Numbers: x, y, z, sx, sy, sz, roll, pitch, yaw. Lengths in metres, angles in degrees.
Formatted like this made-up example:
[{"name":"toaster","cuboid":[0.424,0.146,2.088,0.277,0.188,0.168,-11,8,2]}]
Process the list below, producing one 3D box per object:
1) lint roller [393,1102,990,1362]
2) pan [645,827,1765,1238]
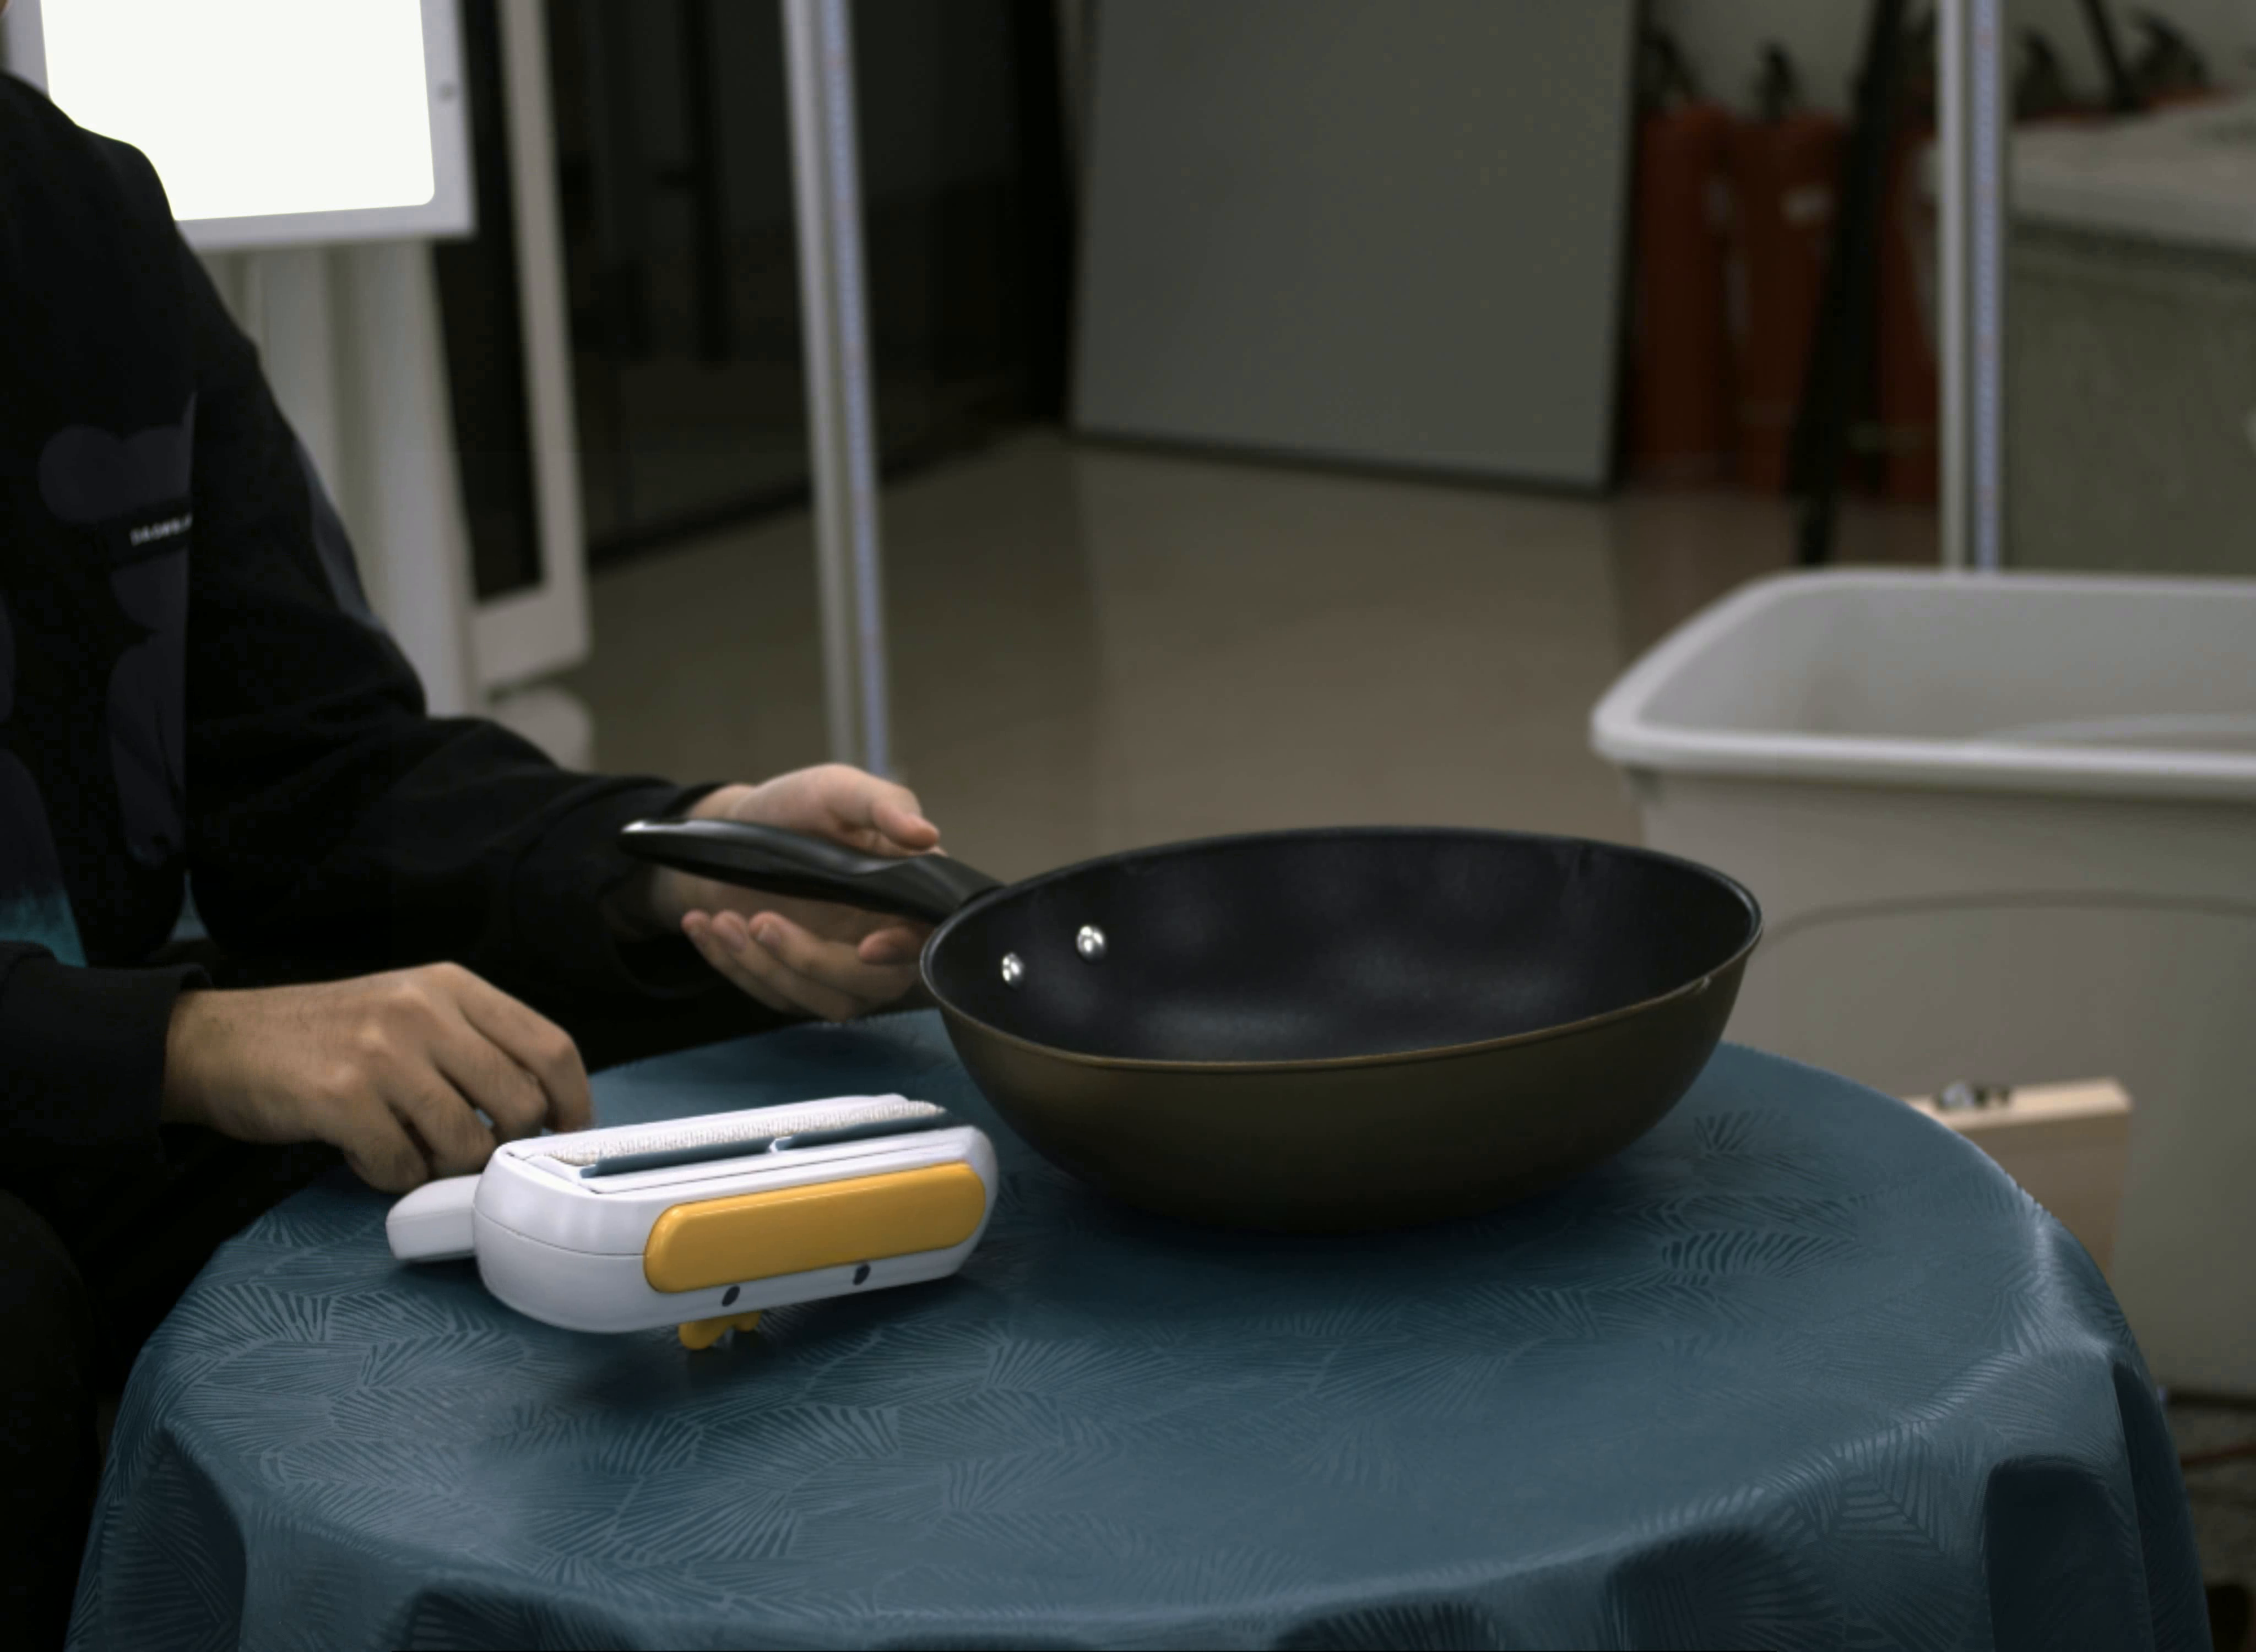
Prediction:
[{"name":"lint roller","cuboid":[-0.163,0.119,1.685,0.188,0.075,0.194,-10,12,-43]},{"name":"pan","cuboid":[0.002,0.063,1.830,0.467,0.088,0.282,7,18,40]}]
